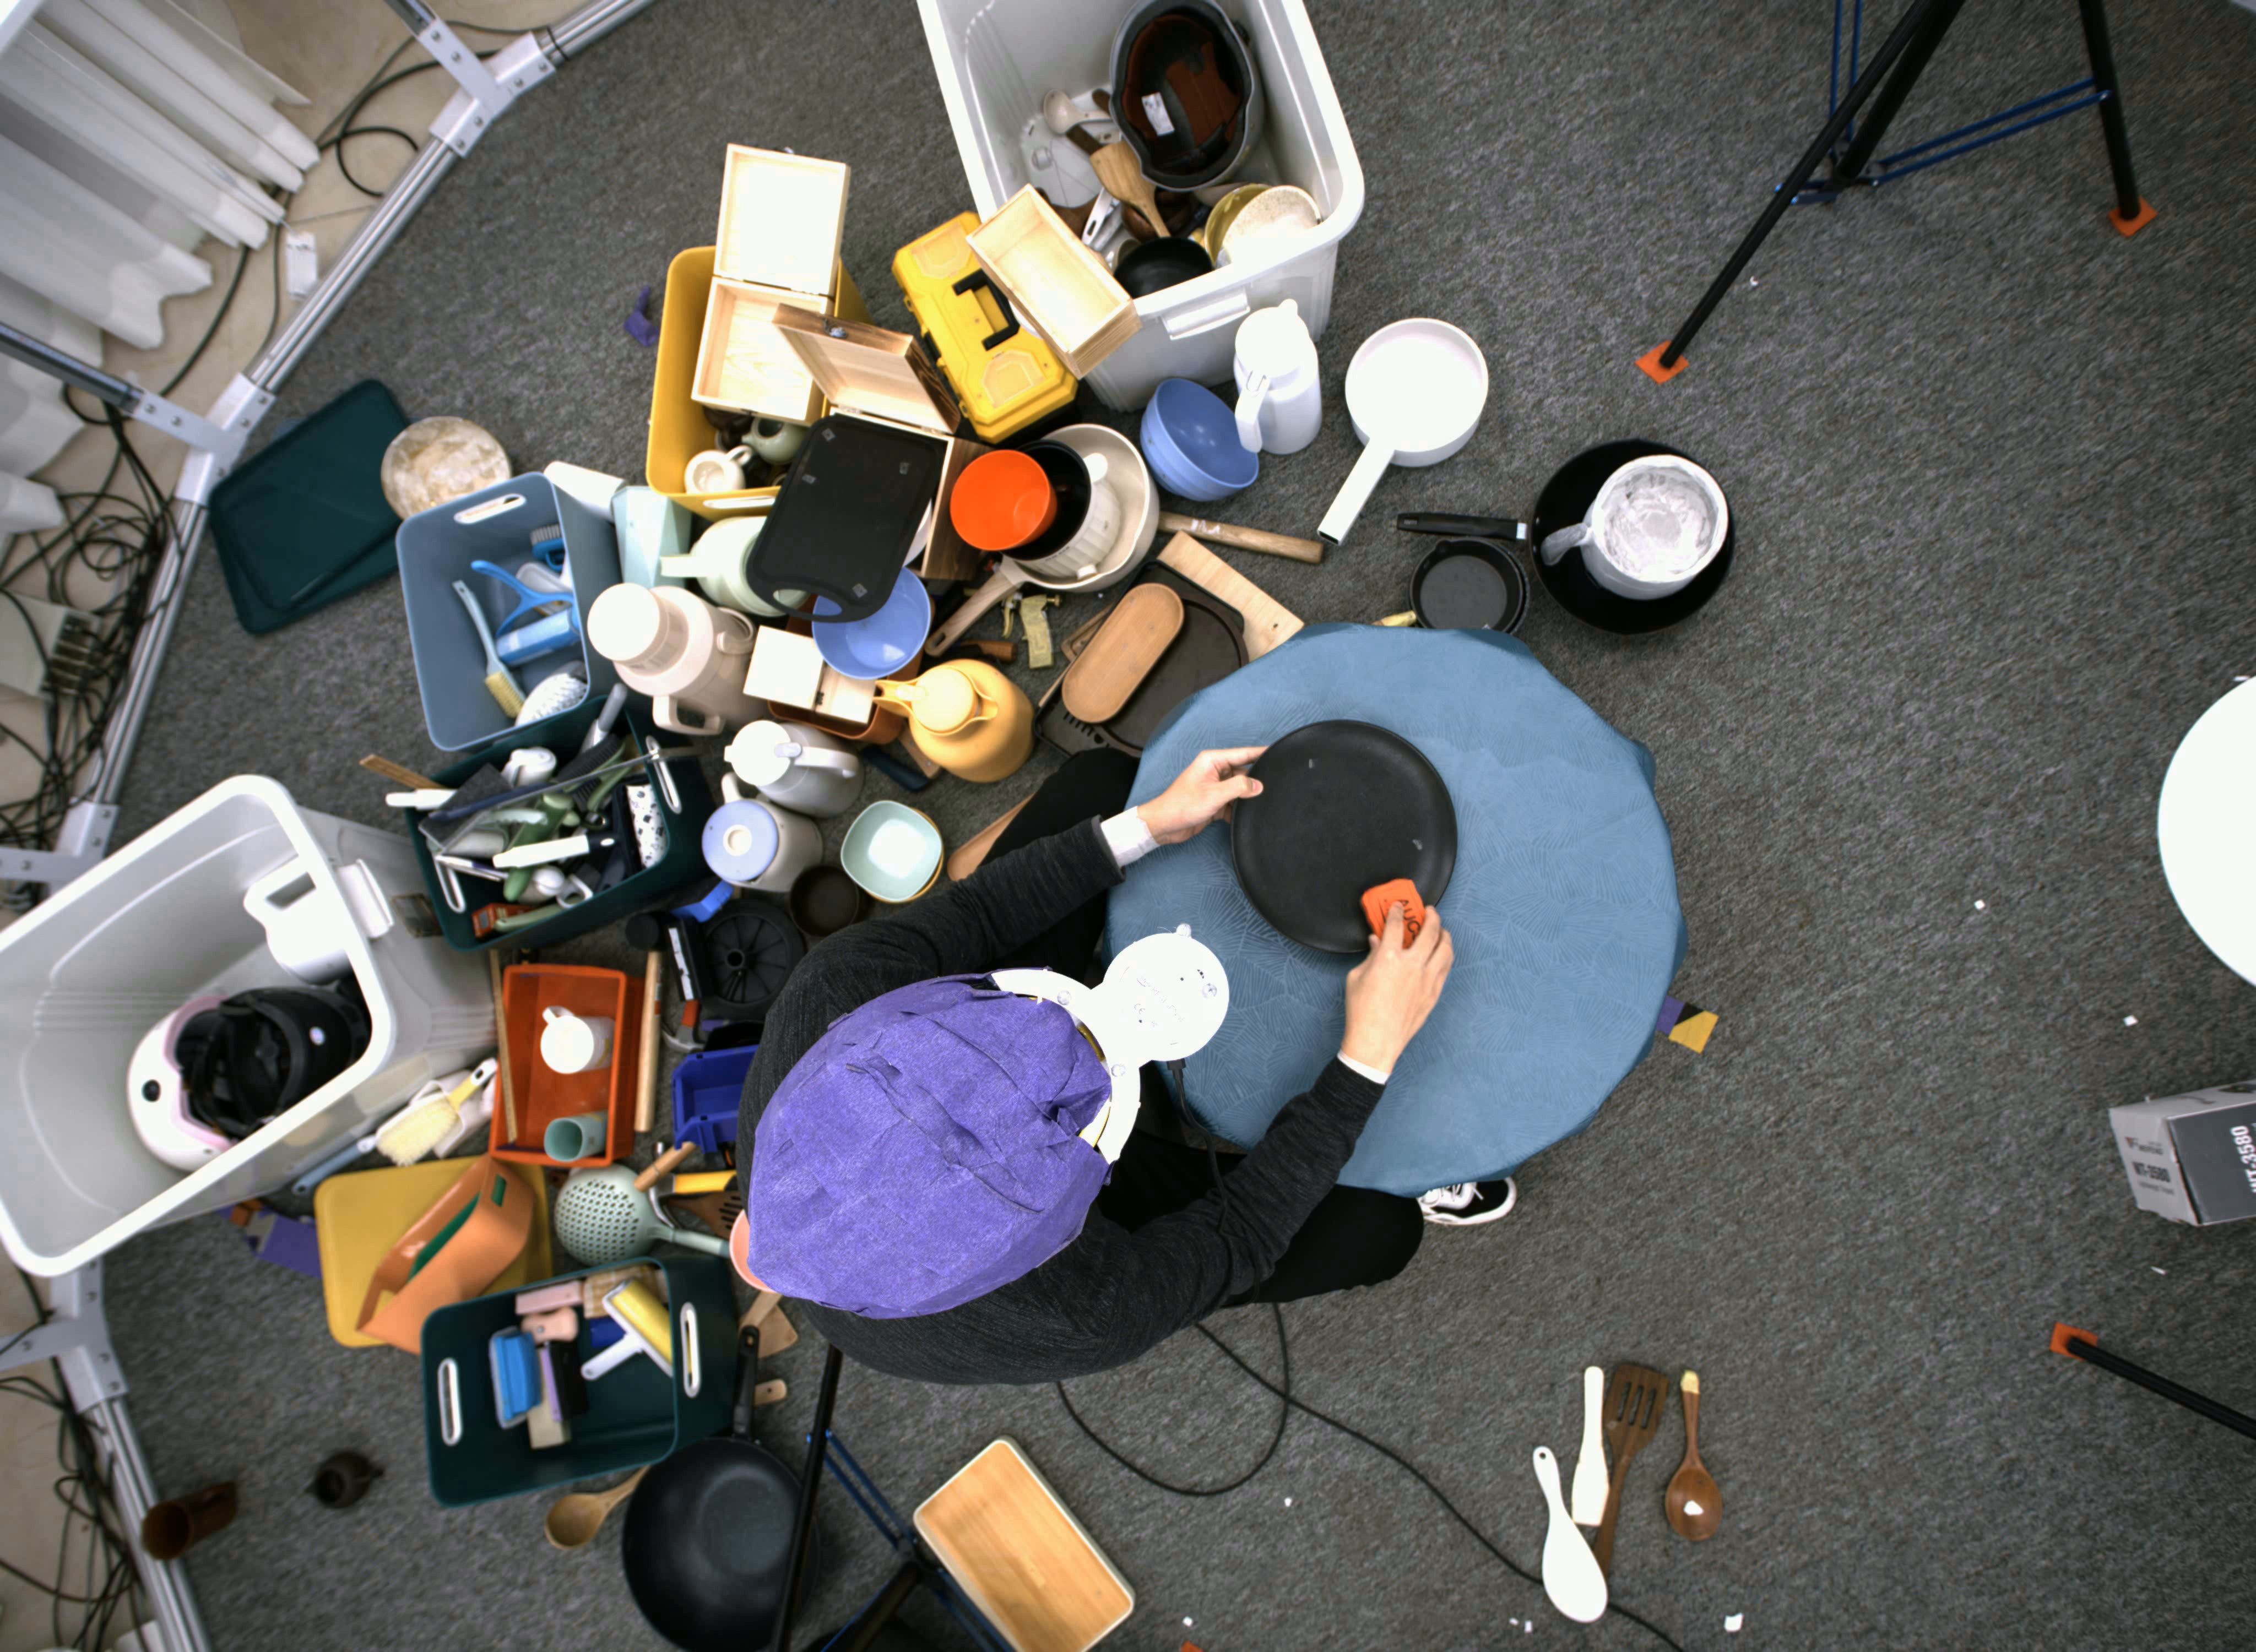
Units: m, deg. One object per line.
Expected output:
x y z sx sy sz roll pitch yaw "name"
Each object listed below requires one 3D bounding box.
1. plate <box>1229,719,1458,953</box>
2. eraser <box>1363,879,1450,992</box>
0.223 0.009 1.436 0.244 0.023 0.244 0 90 -5 "plate"
0.286 0.111 1.420 0.059 0.023 0.107 -20 79 -2 "eraser"
